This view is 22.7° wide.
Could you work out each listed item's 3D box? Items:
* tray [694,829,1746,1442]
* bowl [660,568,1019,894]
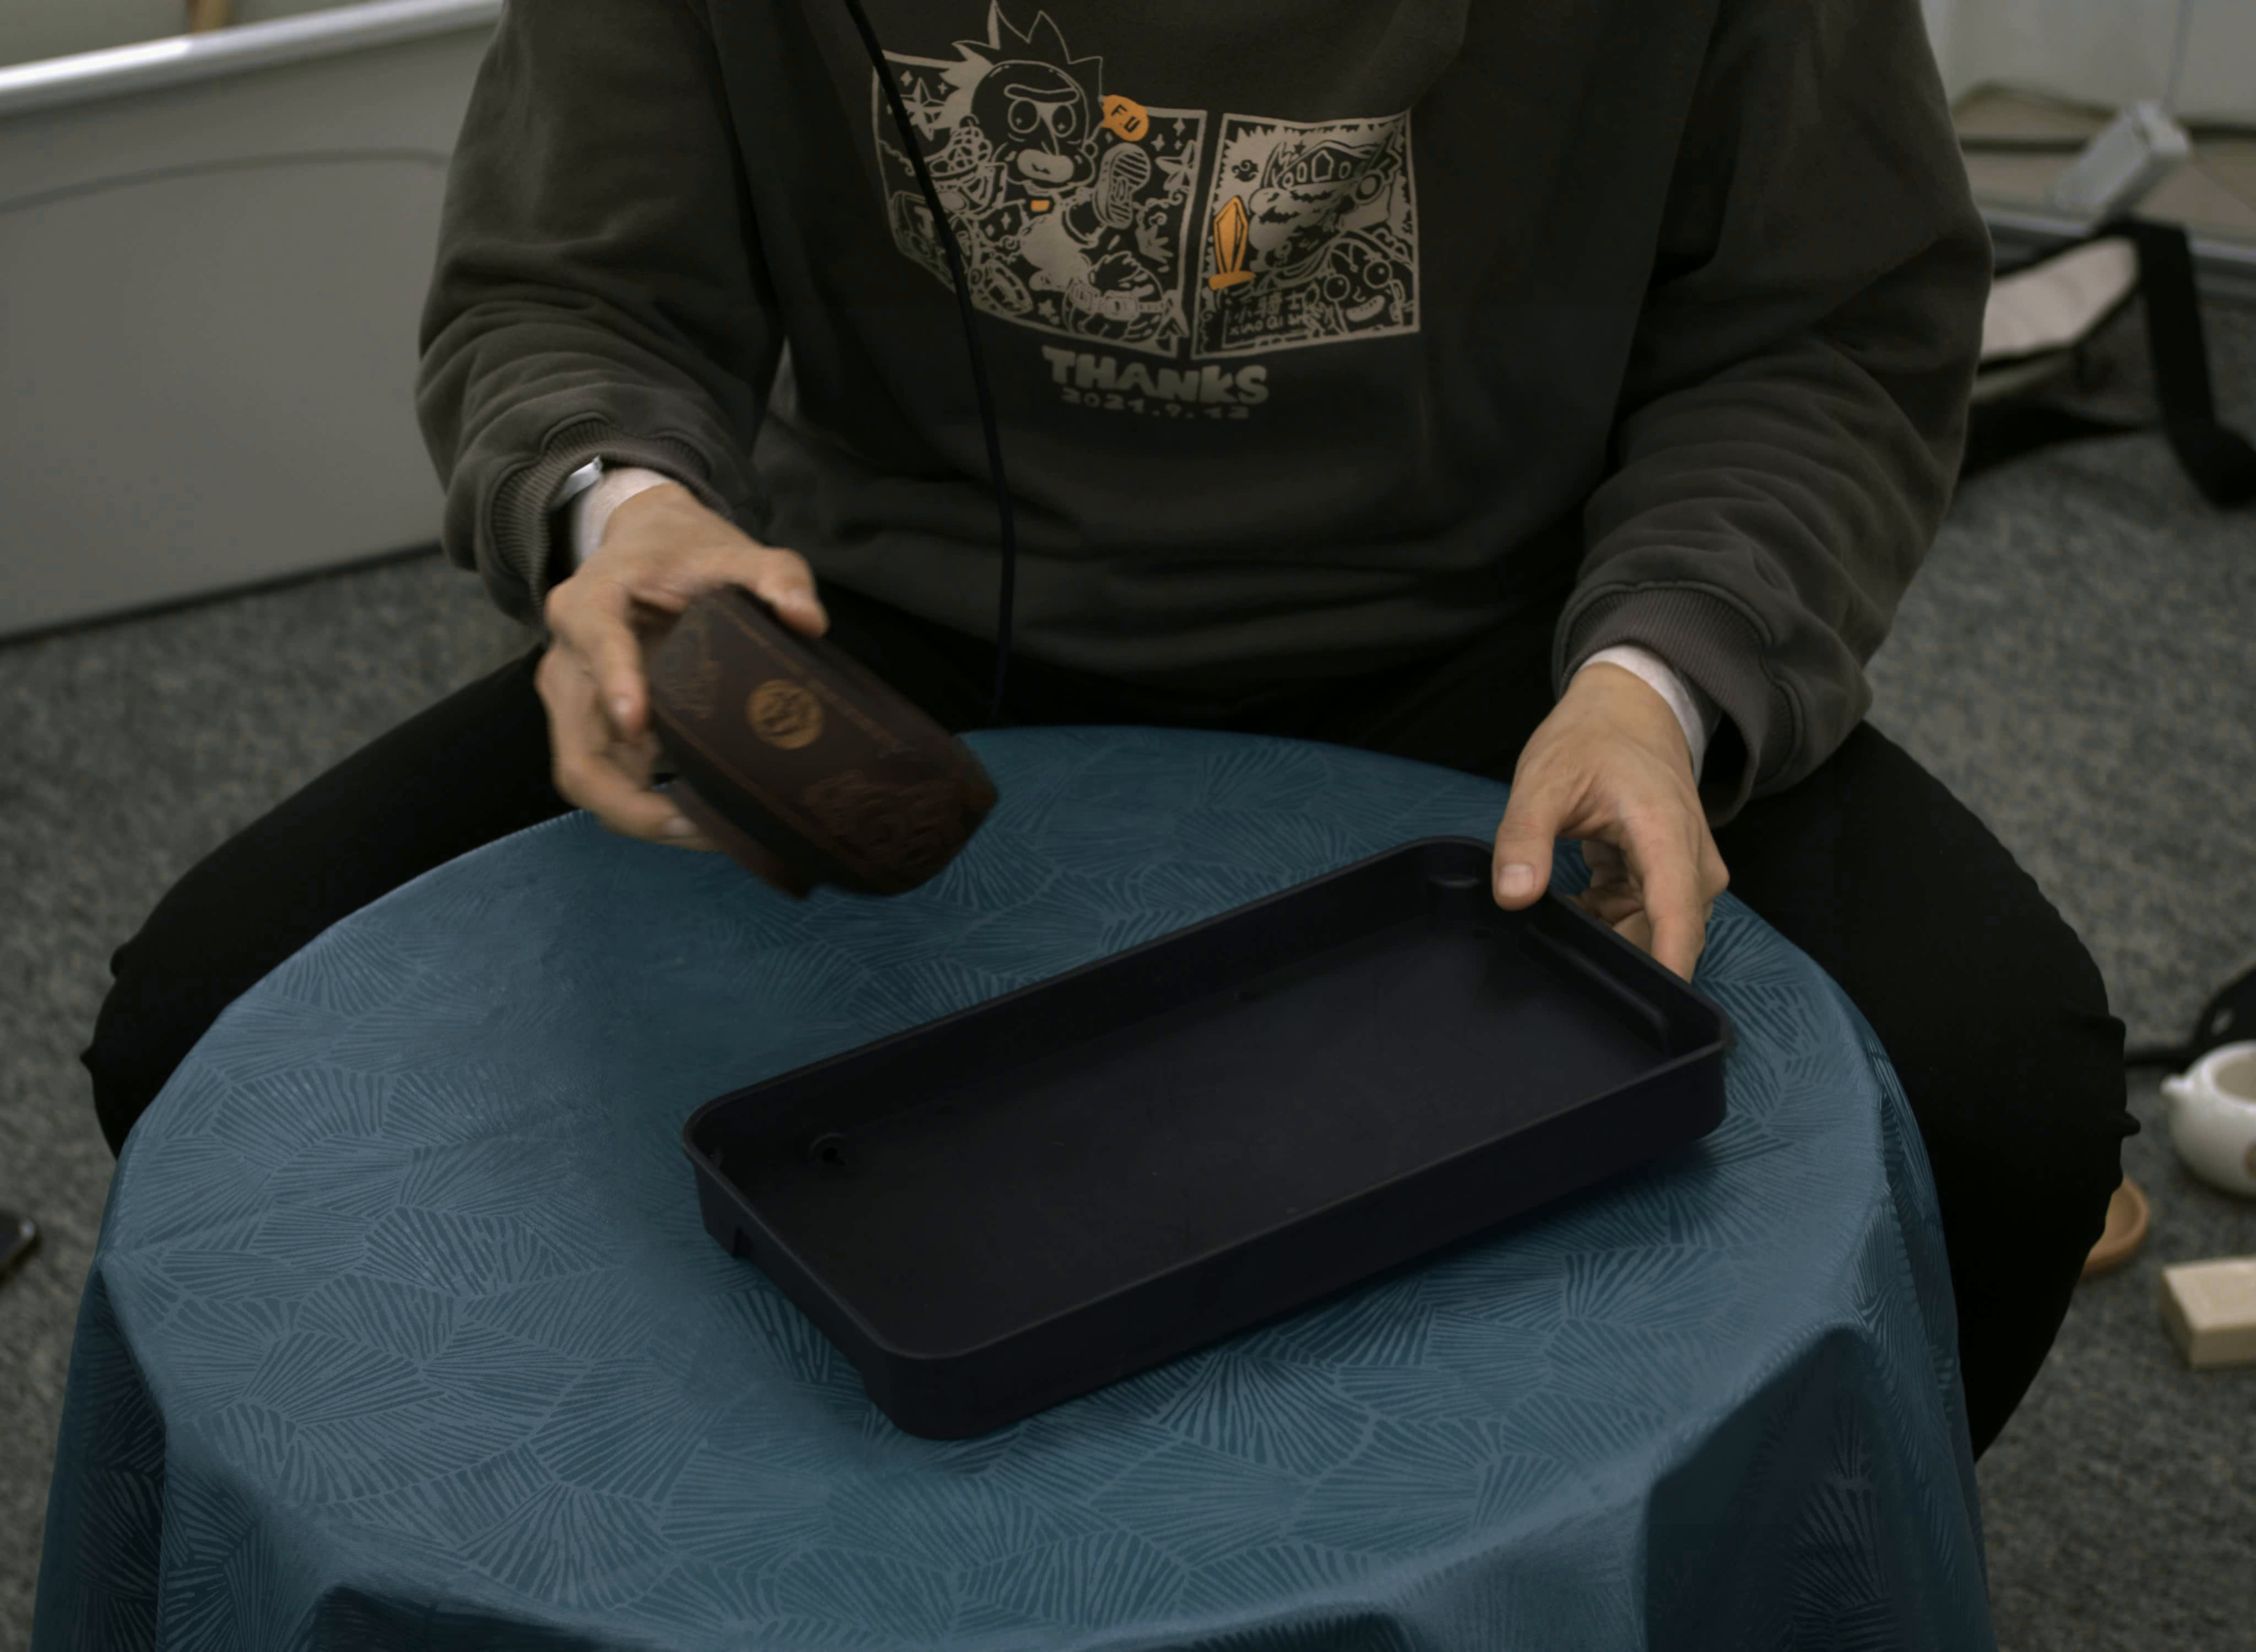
[{"bbox_3d":[0.032,0.096,1.854,0.320,0.036,0.185,-21,32,-25],"label":"tray"},{"bbox_3d":[-0.101,-0.022,1.809,0.118,0.070,0.118,36,1,0],"label":"bowl"}]
